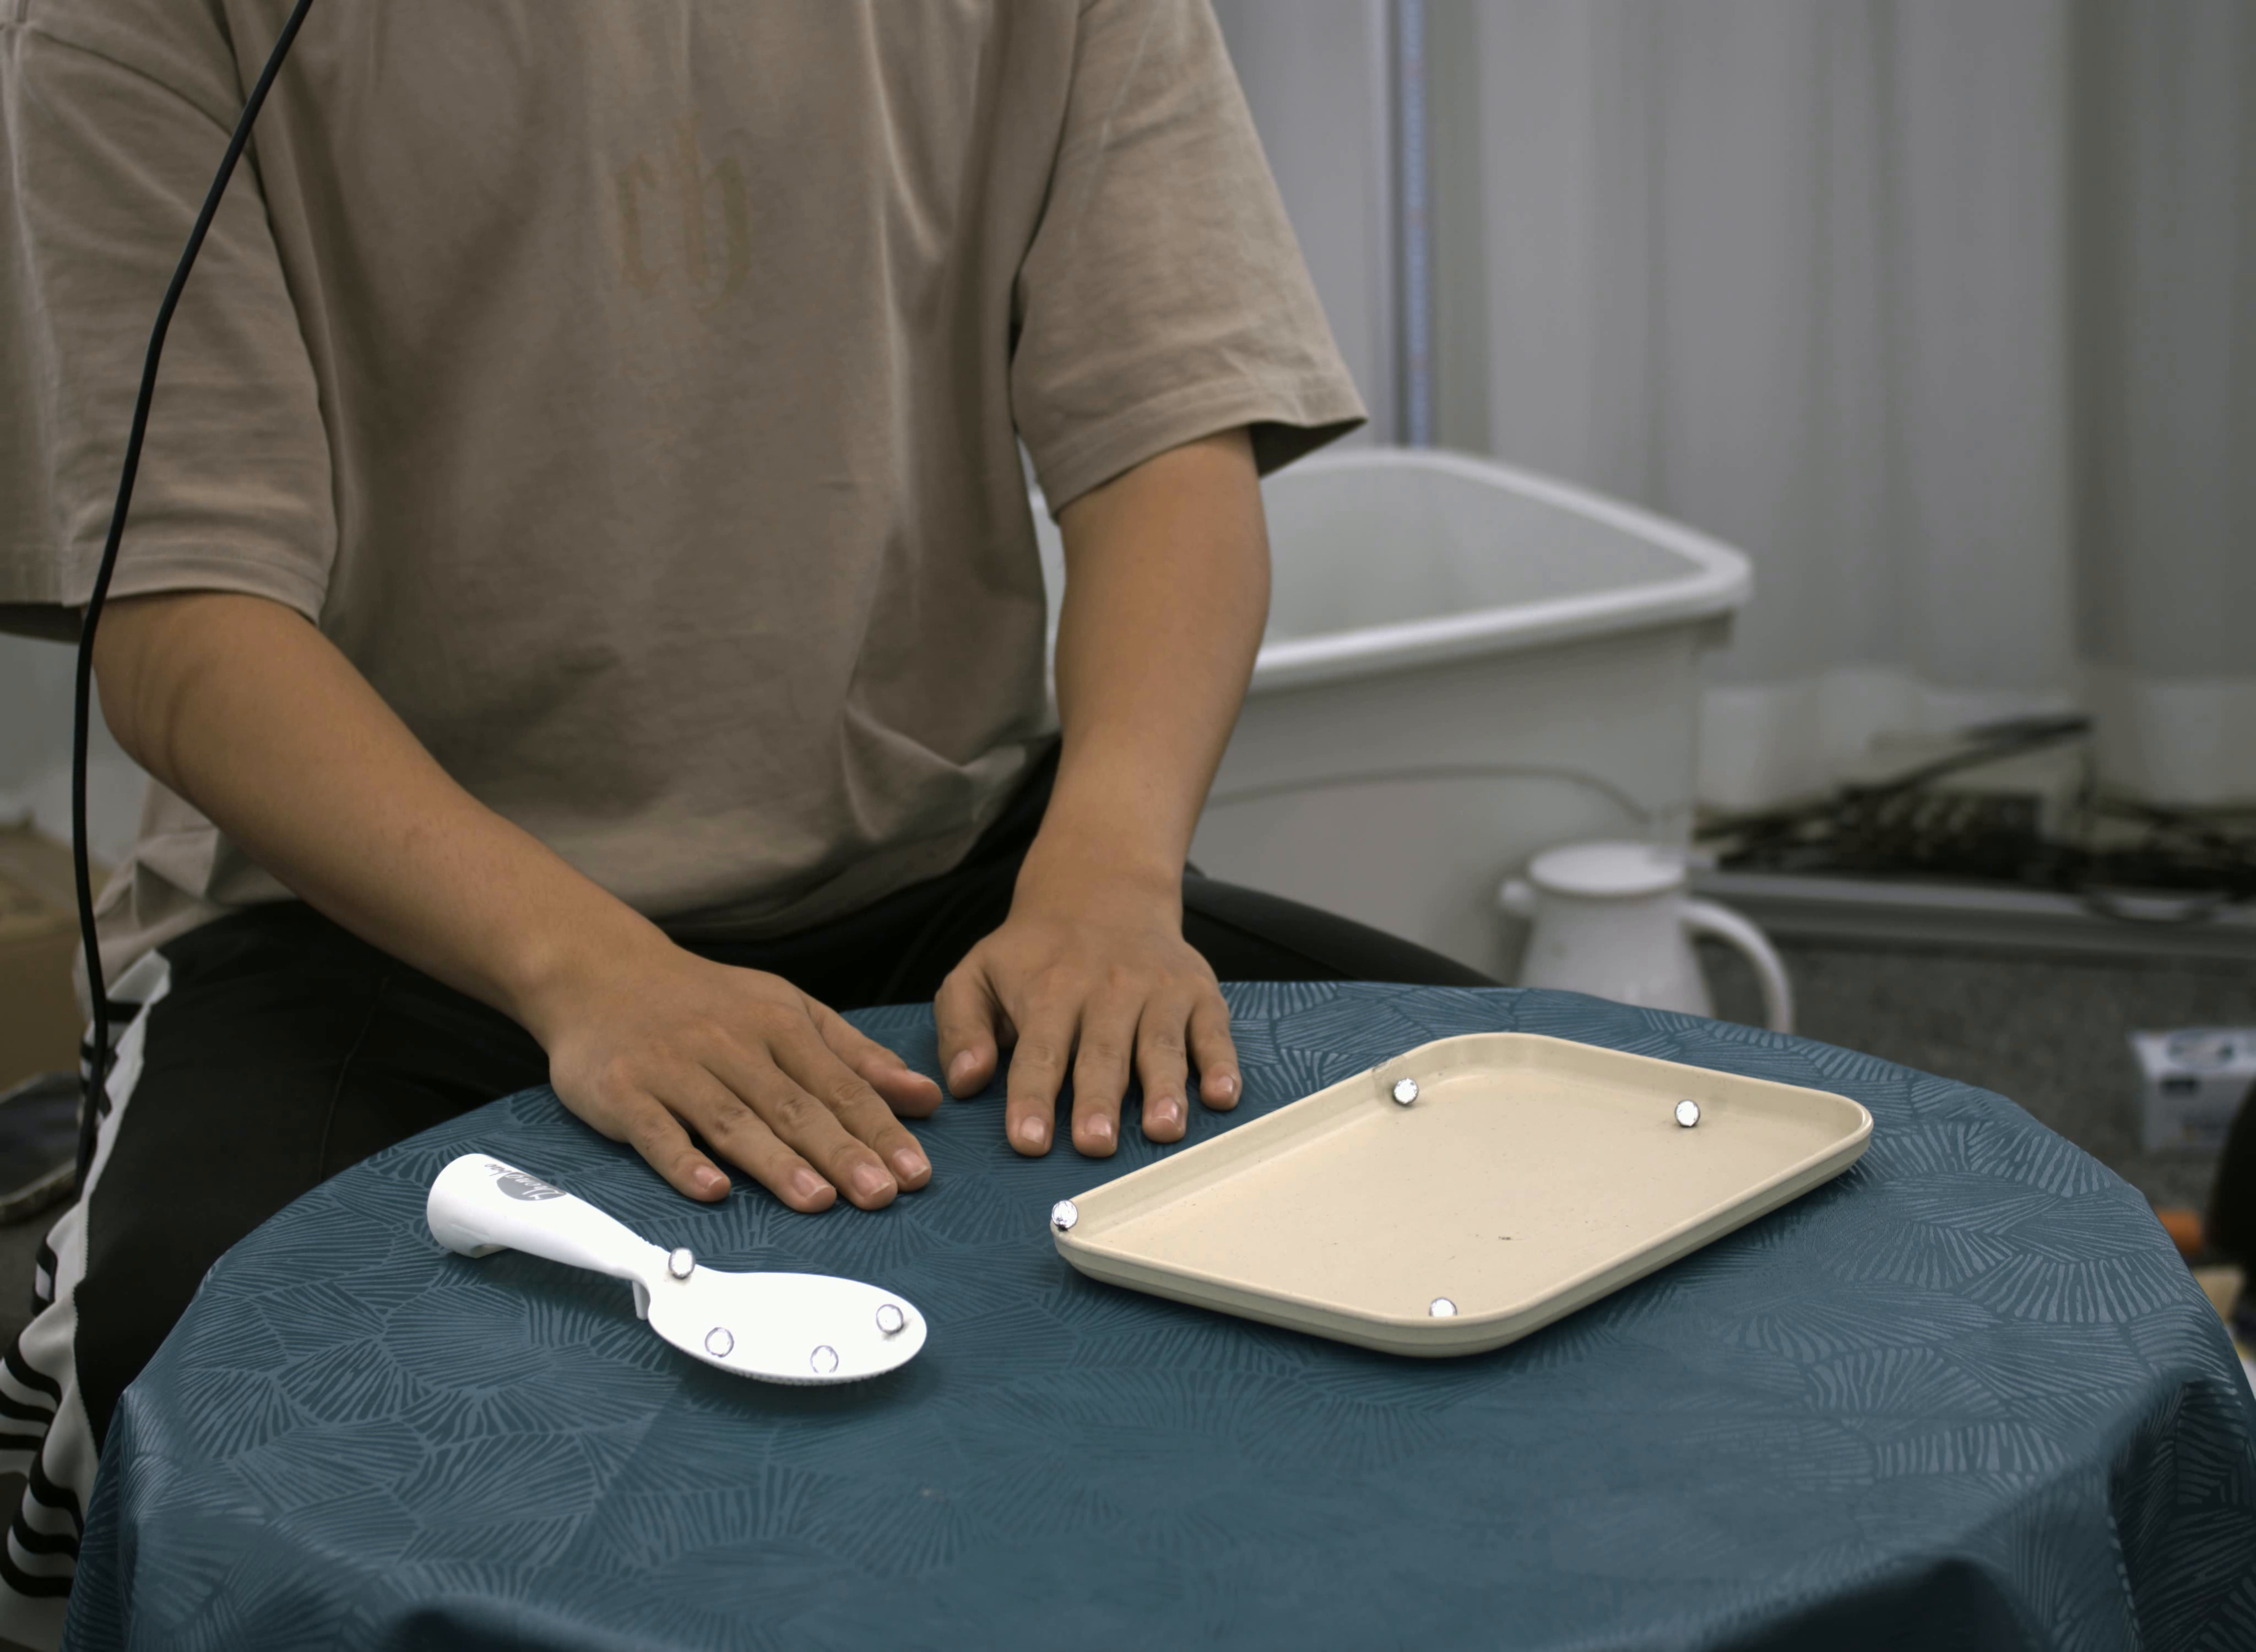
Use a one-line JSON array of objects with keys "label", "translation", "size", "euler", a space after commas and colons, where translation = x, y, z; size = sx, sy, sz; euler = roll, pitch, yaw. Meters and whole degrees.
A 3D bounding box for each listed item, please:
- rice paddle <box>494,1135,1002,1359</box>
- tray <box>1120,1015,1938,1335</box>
[{"label": "rice paddle", "translation": [-0.114, 0.126, 1.616], "size": [0.068, 0.029, 0.206], "euler": [-17, 20, -39]}, {"label": "tray", "translation": [0.125, 0.106, 1.675], "size": [0.172, 0.017, 0.239], "euler": [10, 20, 39]}]
